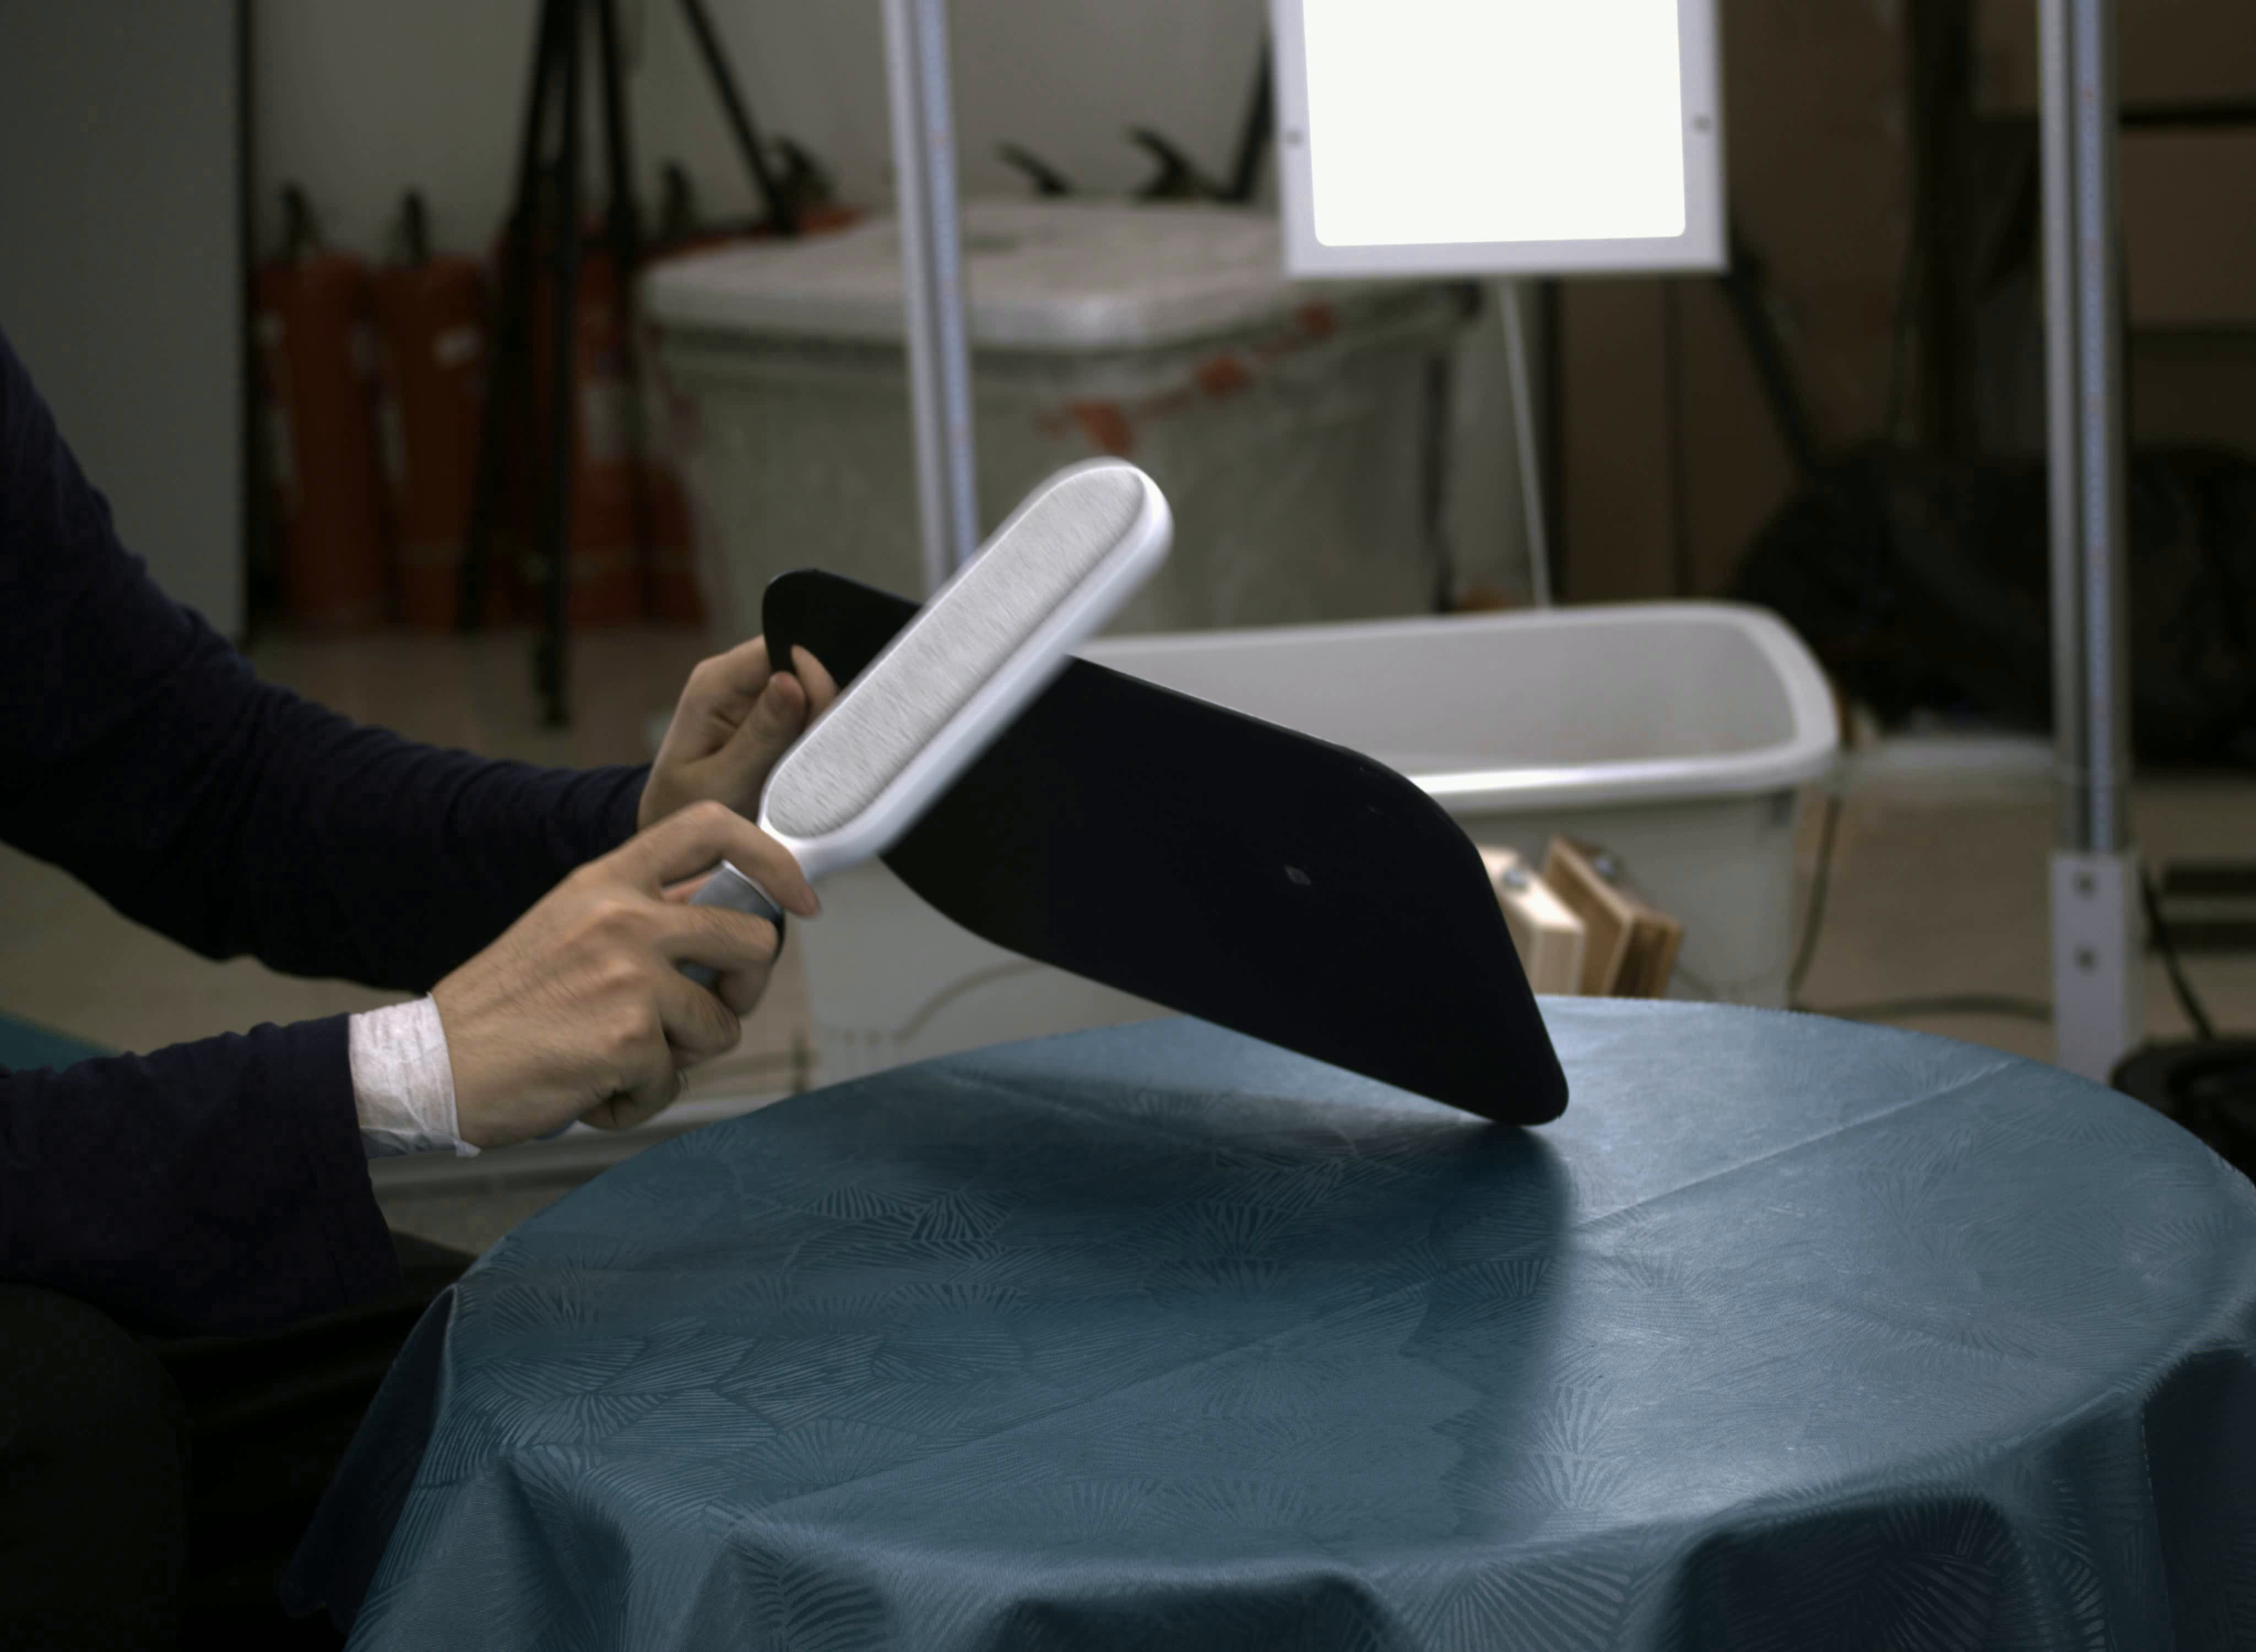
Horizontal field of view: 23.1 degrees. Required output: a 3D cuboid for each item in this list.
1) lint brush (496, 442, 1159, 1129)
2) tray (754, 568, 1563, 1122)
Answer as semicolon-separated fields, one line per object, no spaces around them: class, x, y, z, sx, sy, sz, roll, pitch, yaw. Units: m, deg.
lint brush;-0.101;-0.015;1.844;0.307;0.020;0.061;-47;46;-8
tray;0.004;0.003;1.939;0.331;0.210;0.009;19;60;35
